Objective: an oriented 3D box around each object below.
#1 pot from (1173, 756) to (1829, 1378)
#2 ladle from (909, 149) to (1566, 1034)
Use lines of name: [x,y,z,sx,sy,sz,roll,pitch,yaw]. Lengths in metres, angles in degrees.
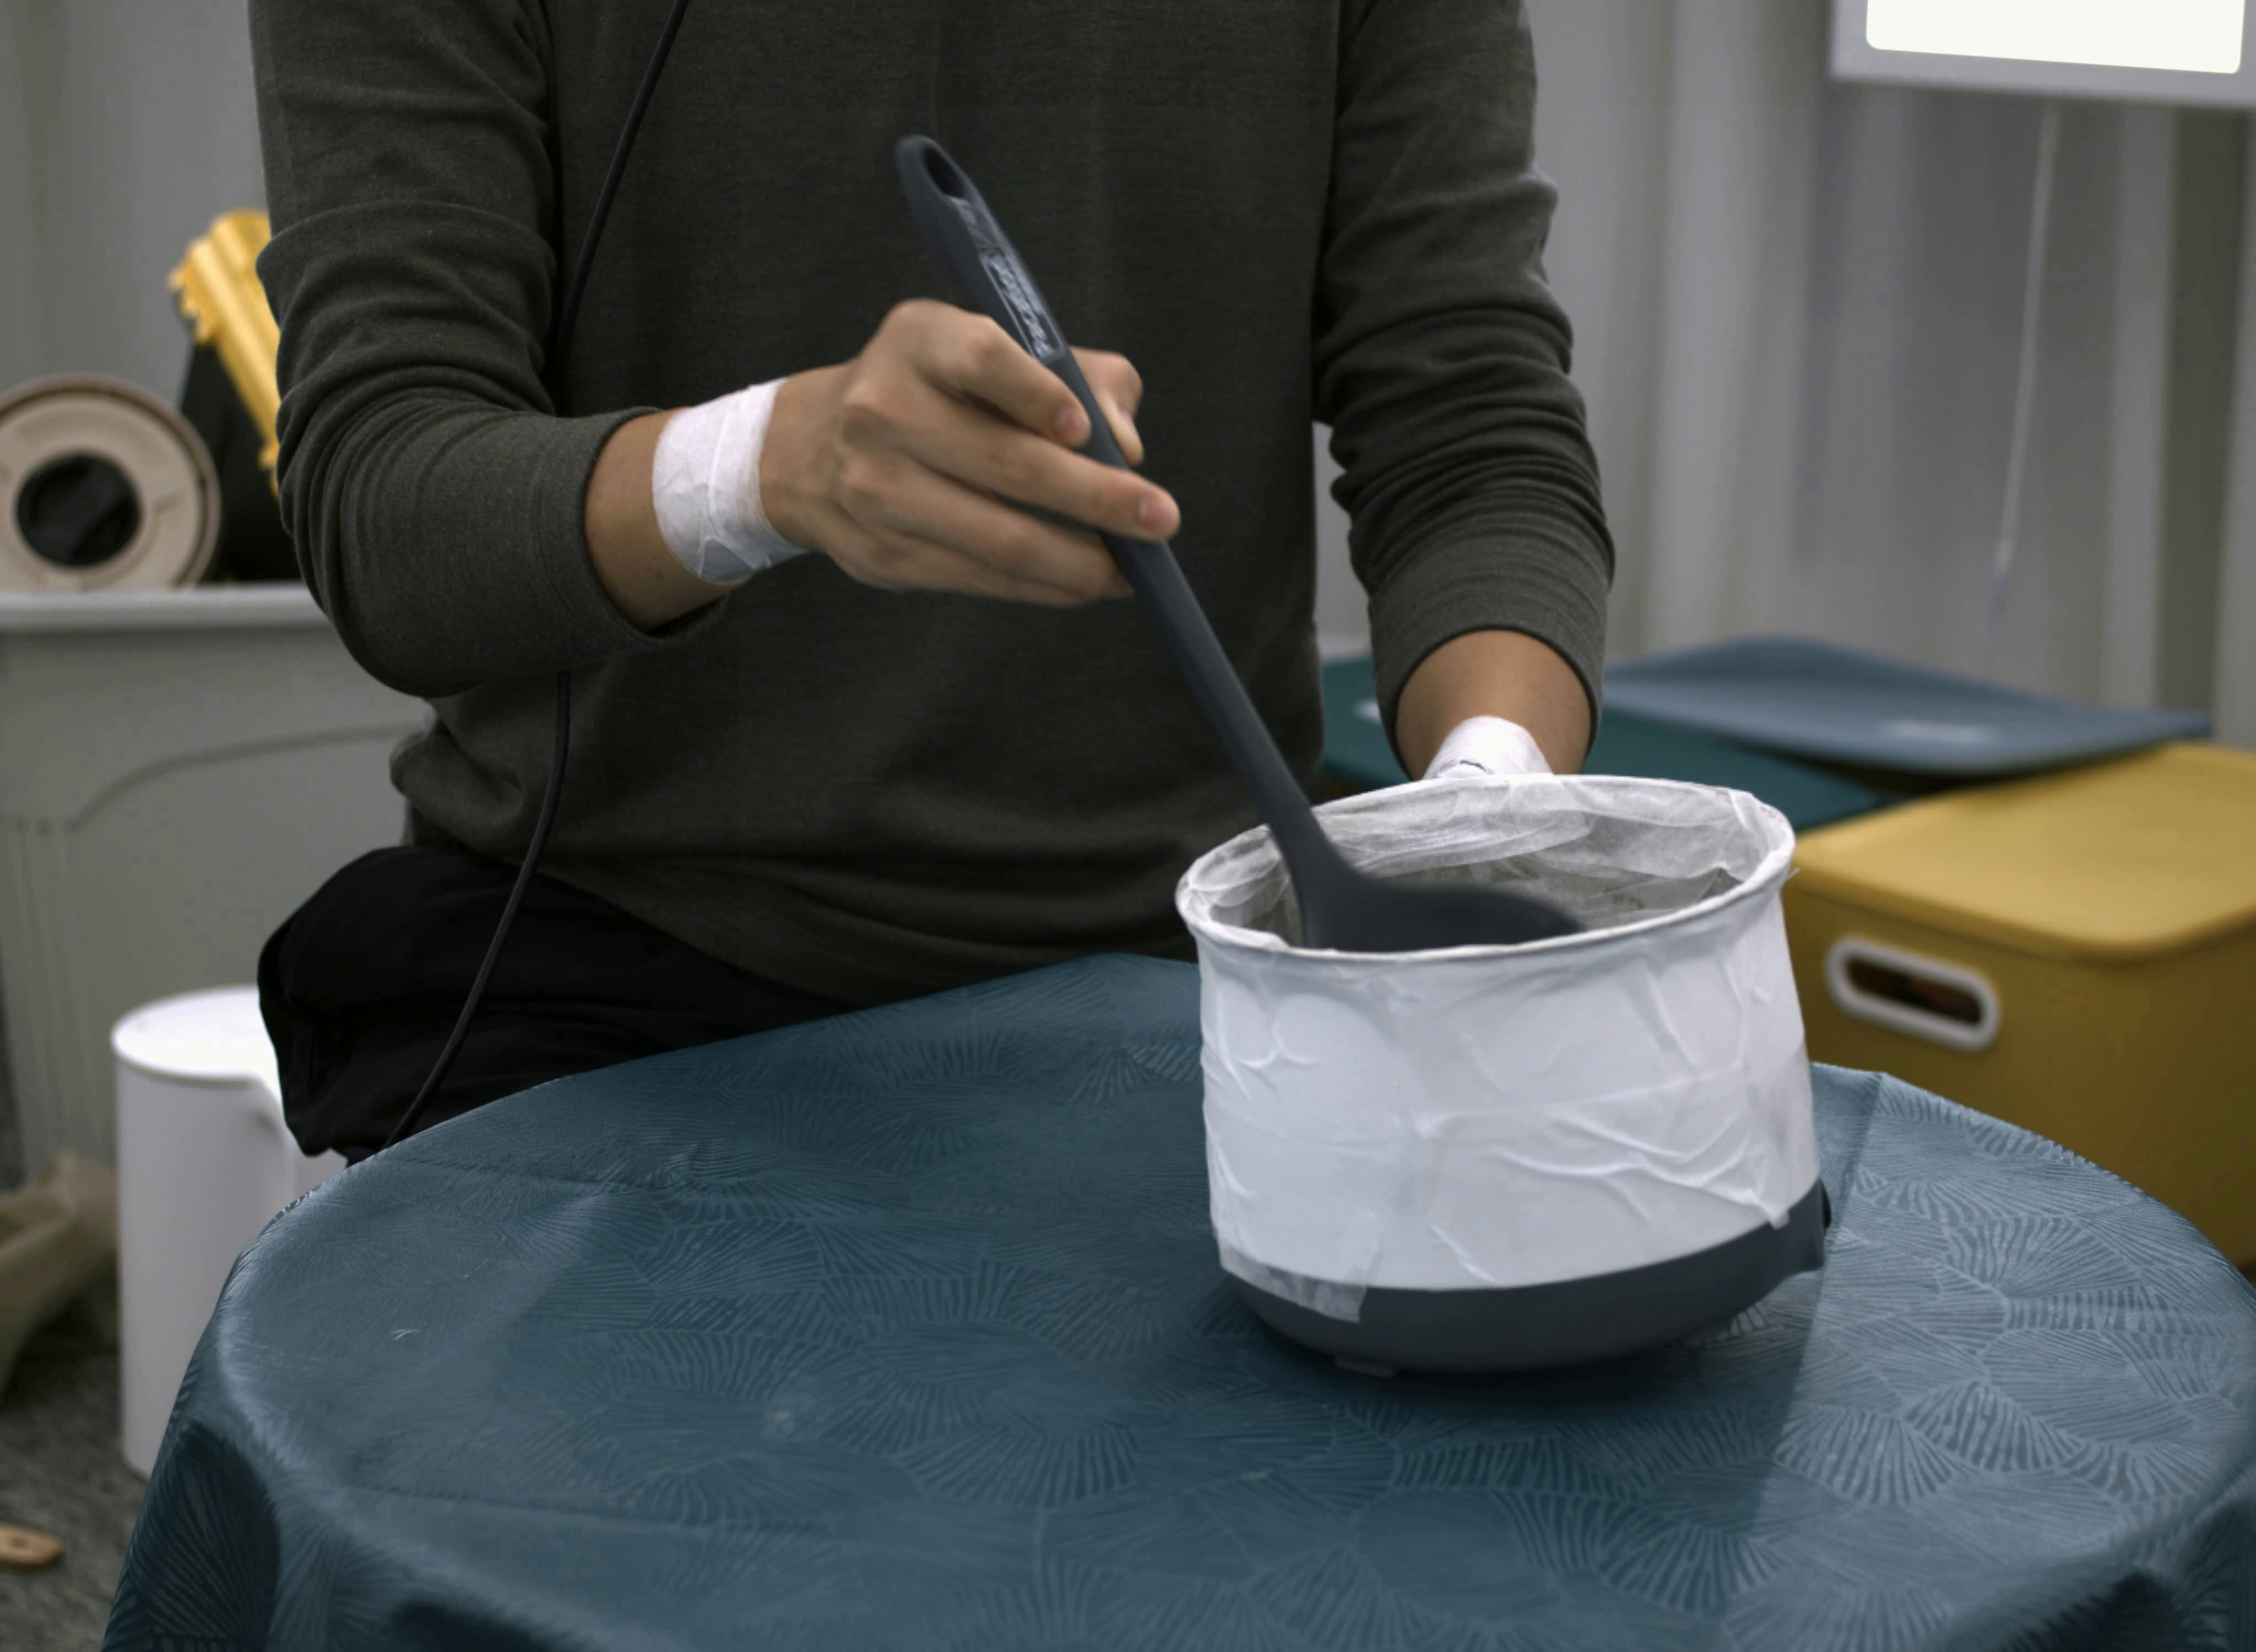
pot: [0.107,0.063,1.529,0.178,0.138,0.232,-6,15,0]
ladle: [0.029,-0.063,1.506,0.086,0.315,0.063,-32,5,-41]
